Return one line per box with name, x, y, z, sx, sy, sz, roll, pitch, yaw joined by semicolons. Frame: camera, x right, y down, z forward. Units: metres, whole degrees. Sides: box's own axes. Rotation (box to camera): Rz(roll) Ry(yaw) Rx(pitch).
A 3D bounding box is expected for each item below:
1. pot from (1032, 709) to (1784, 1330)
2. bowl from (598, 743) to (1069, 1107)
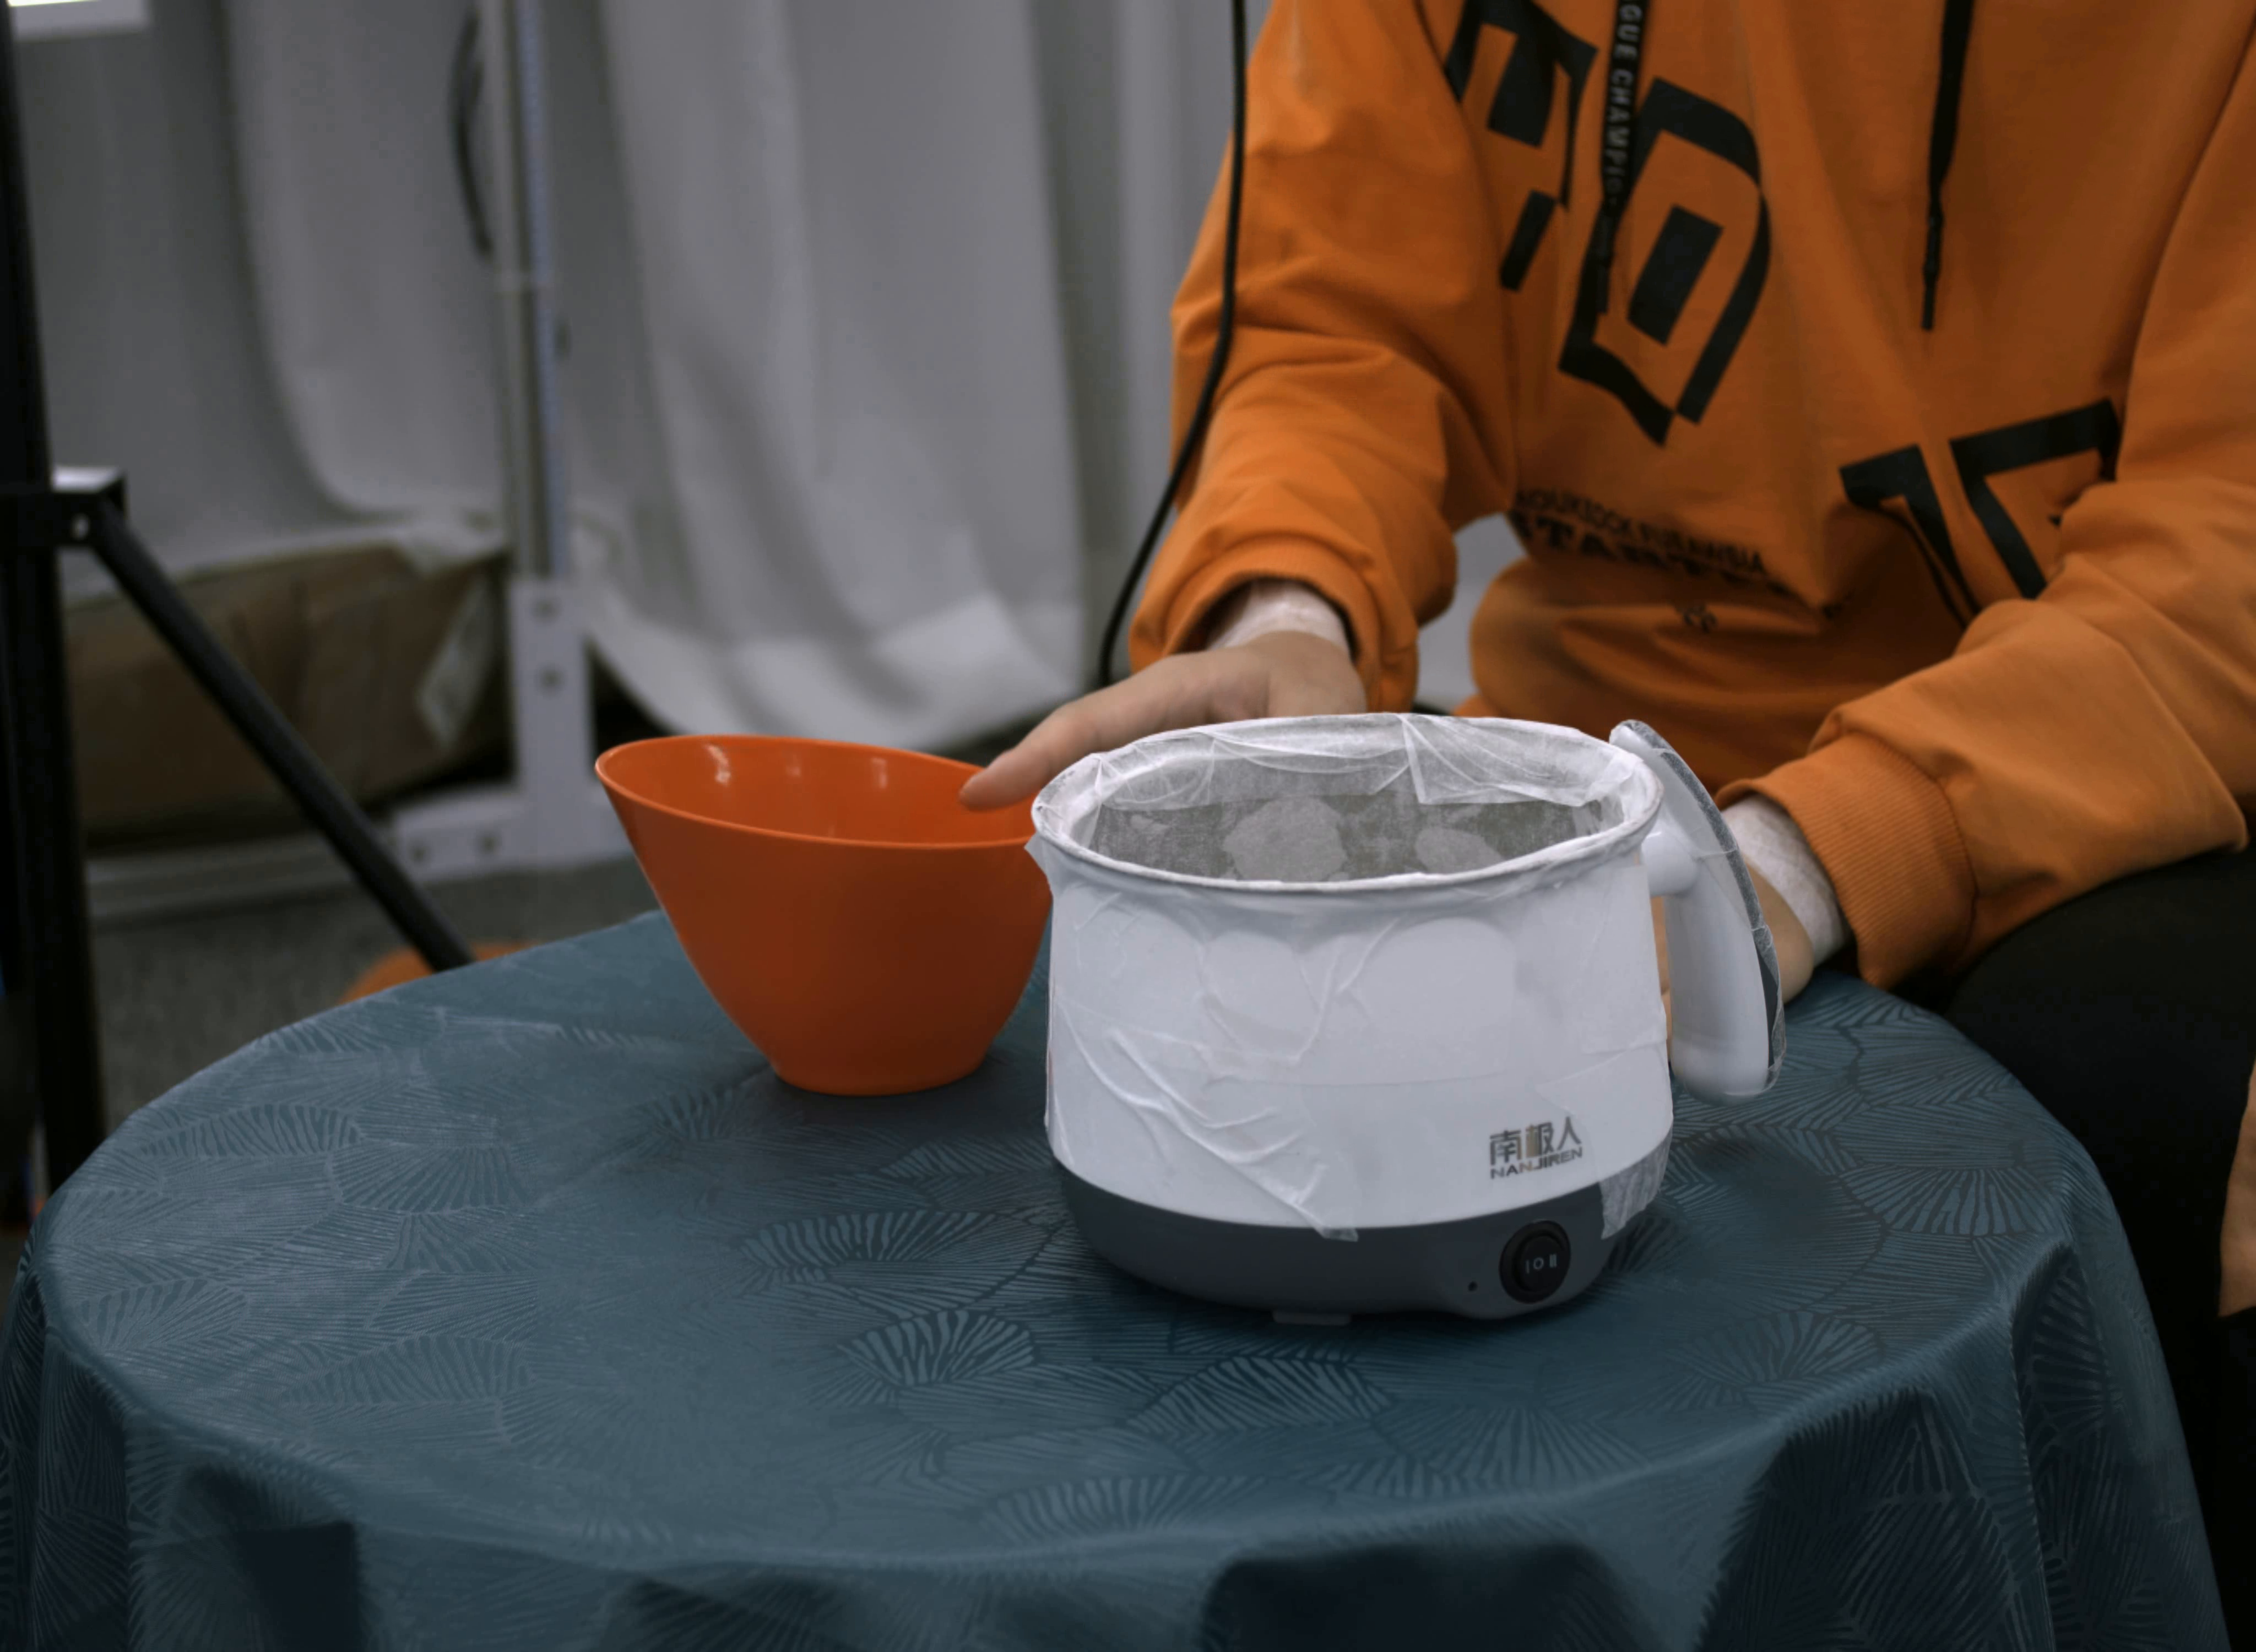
pot;0.087;0.047;1.505;0.228;0.136;0.183;-12;19;-30
bowl;-0.091;0.030;1.671;0.147;0.104;0.149;-2;15;-1
